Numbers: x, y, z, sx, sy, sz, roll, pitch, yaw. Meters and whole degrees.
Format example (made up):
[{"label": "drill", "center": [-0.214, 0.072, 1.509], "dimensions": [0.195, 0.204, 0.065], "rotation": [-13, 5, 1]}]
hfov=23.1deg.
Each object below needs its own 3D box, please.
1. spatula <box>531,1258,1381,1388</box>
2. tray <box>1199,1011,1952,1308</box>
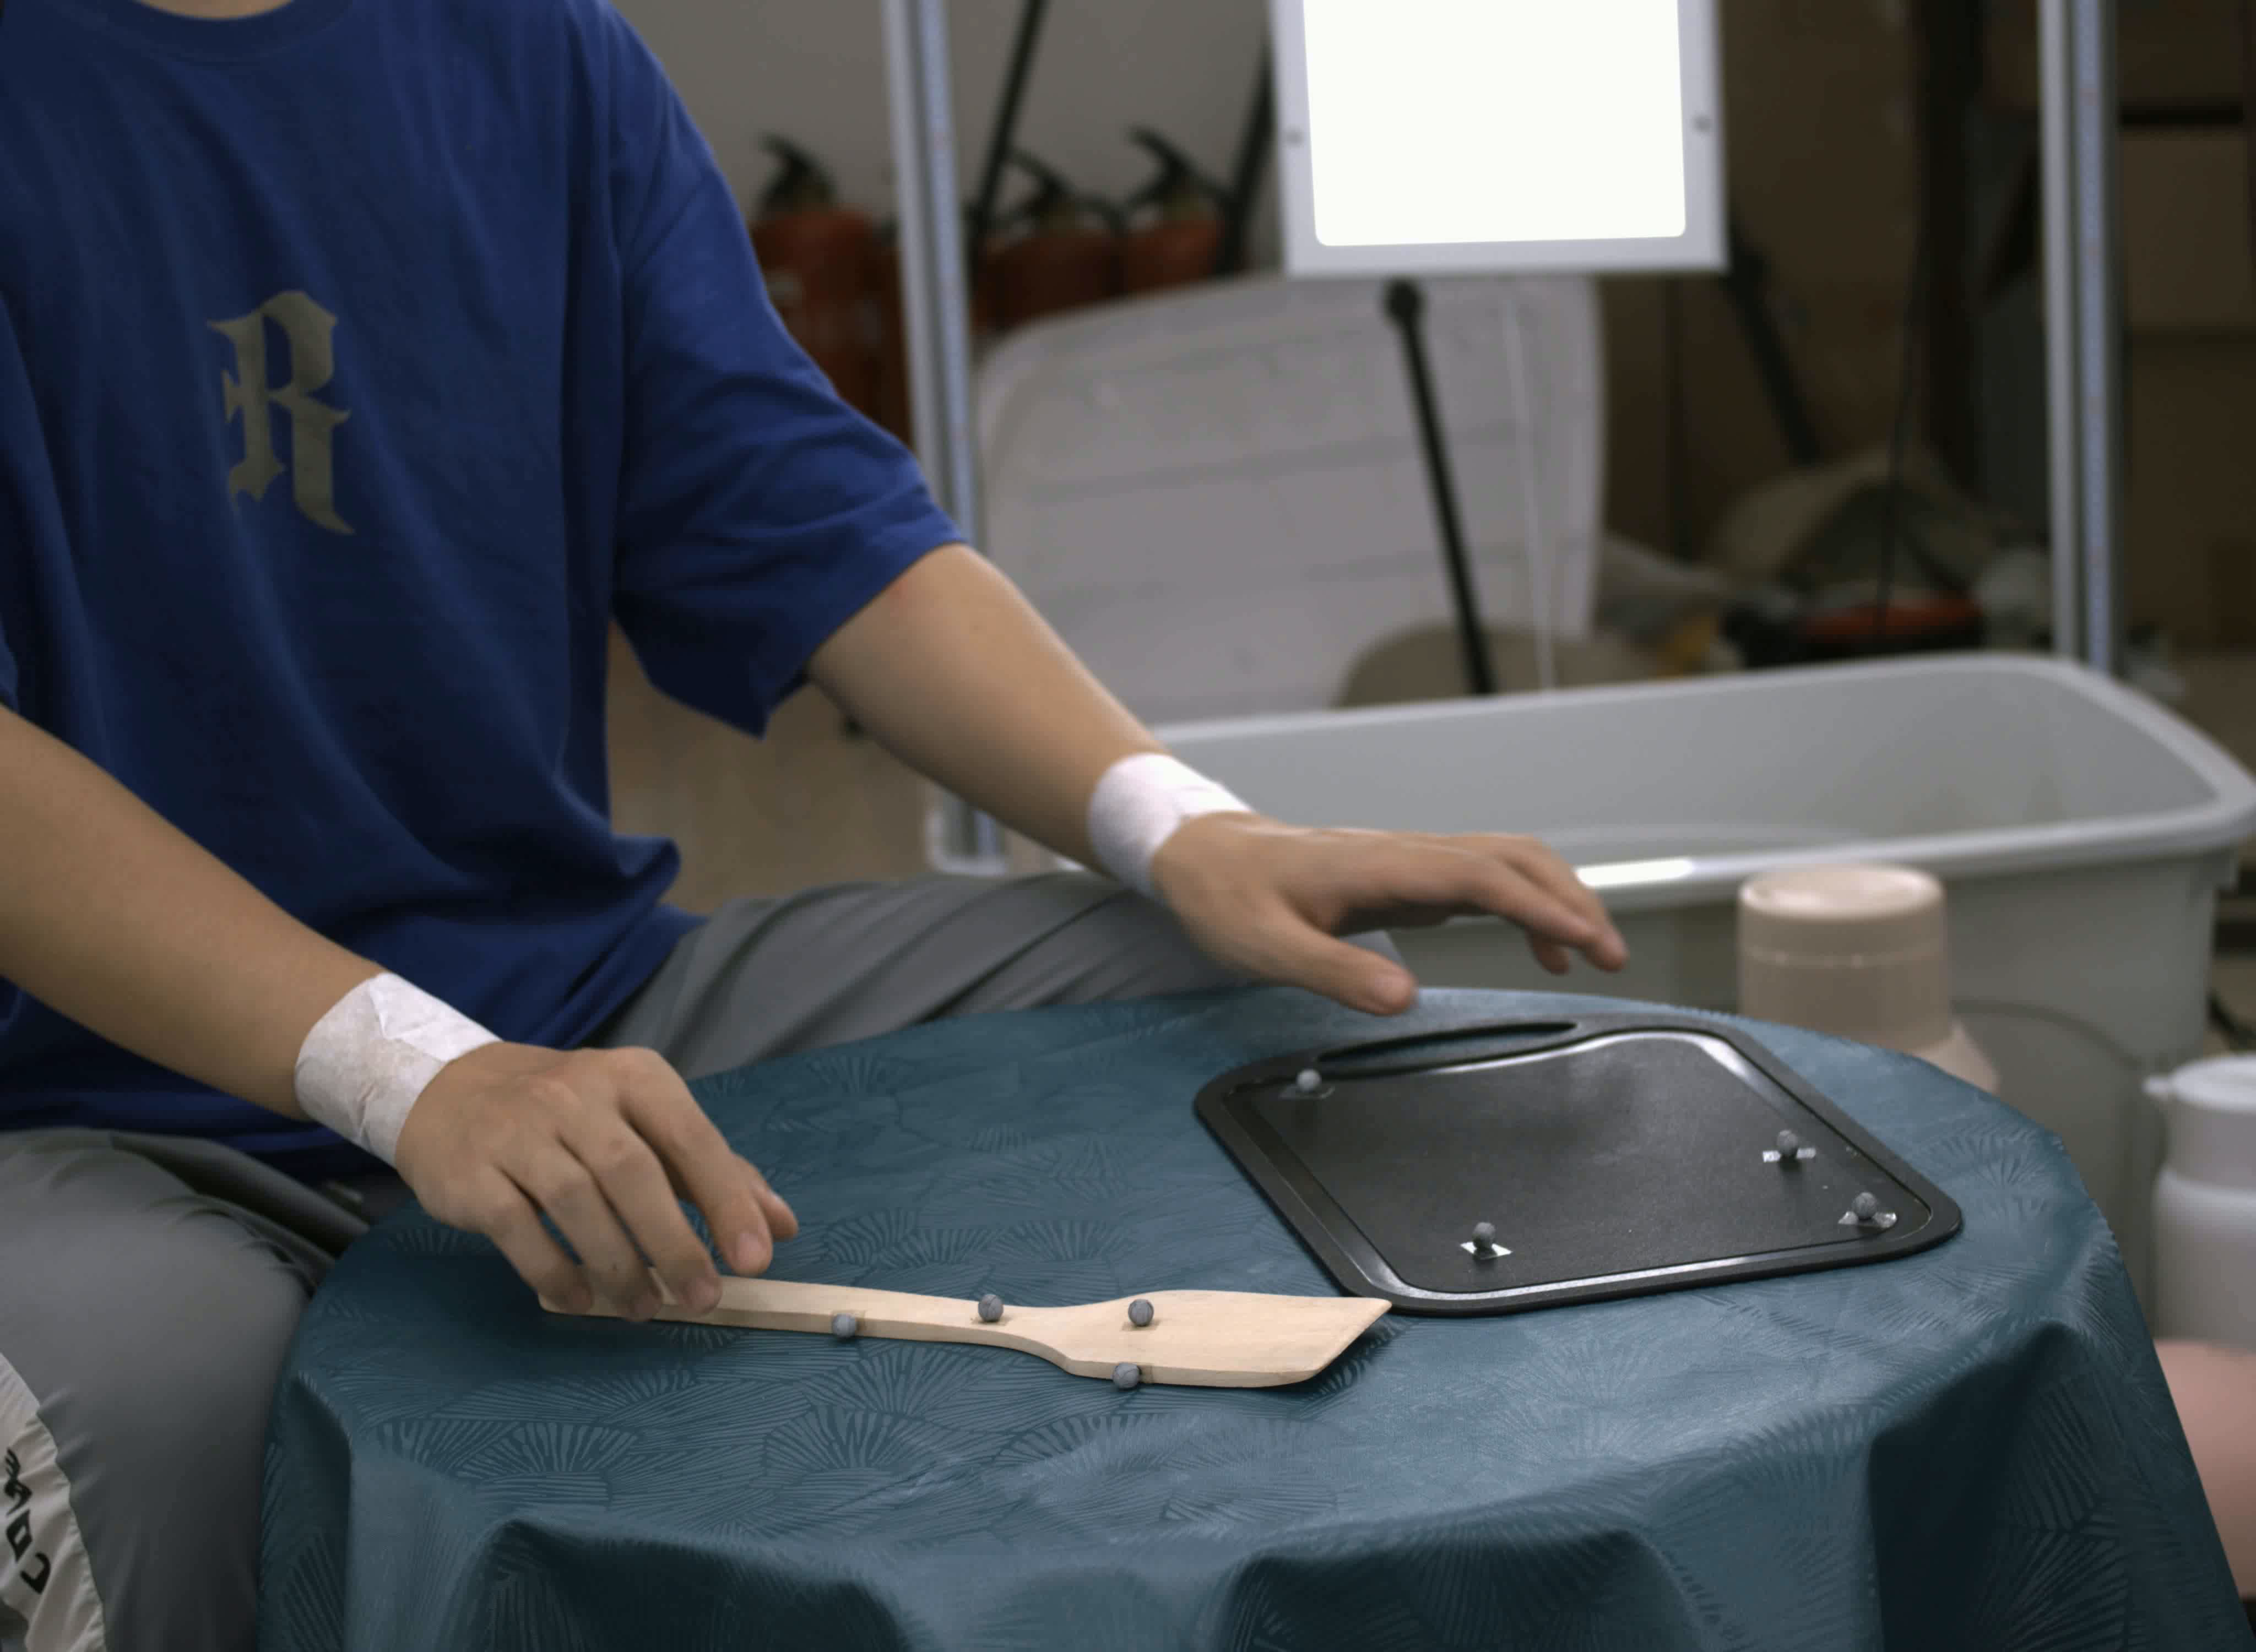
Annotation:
[{"label": "spatula", "center": [-0.064, 0.157, 1.775], "dimensions": [0.298, 0.011, 0.071], "rotation": [2, 17, 27]}, {"label": "tray", "center": [0.146, 0.109, 1.900], "dimensions": [0.209, 0.010, 0.327], "rotation": [-7, 14, -9]}]
